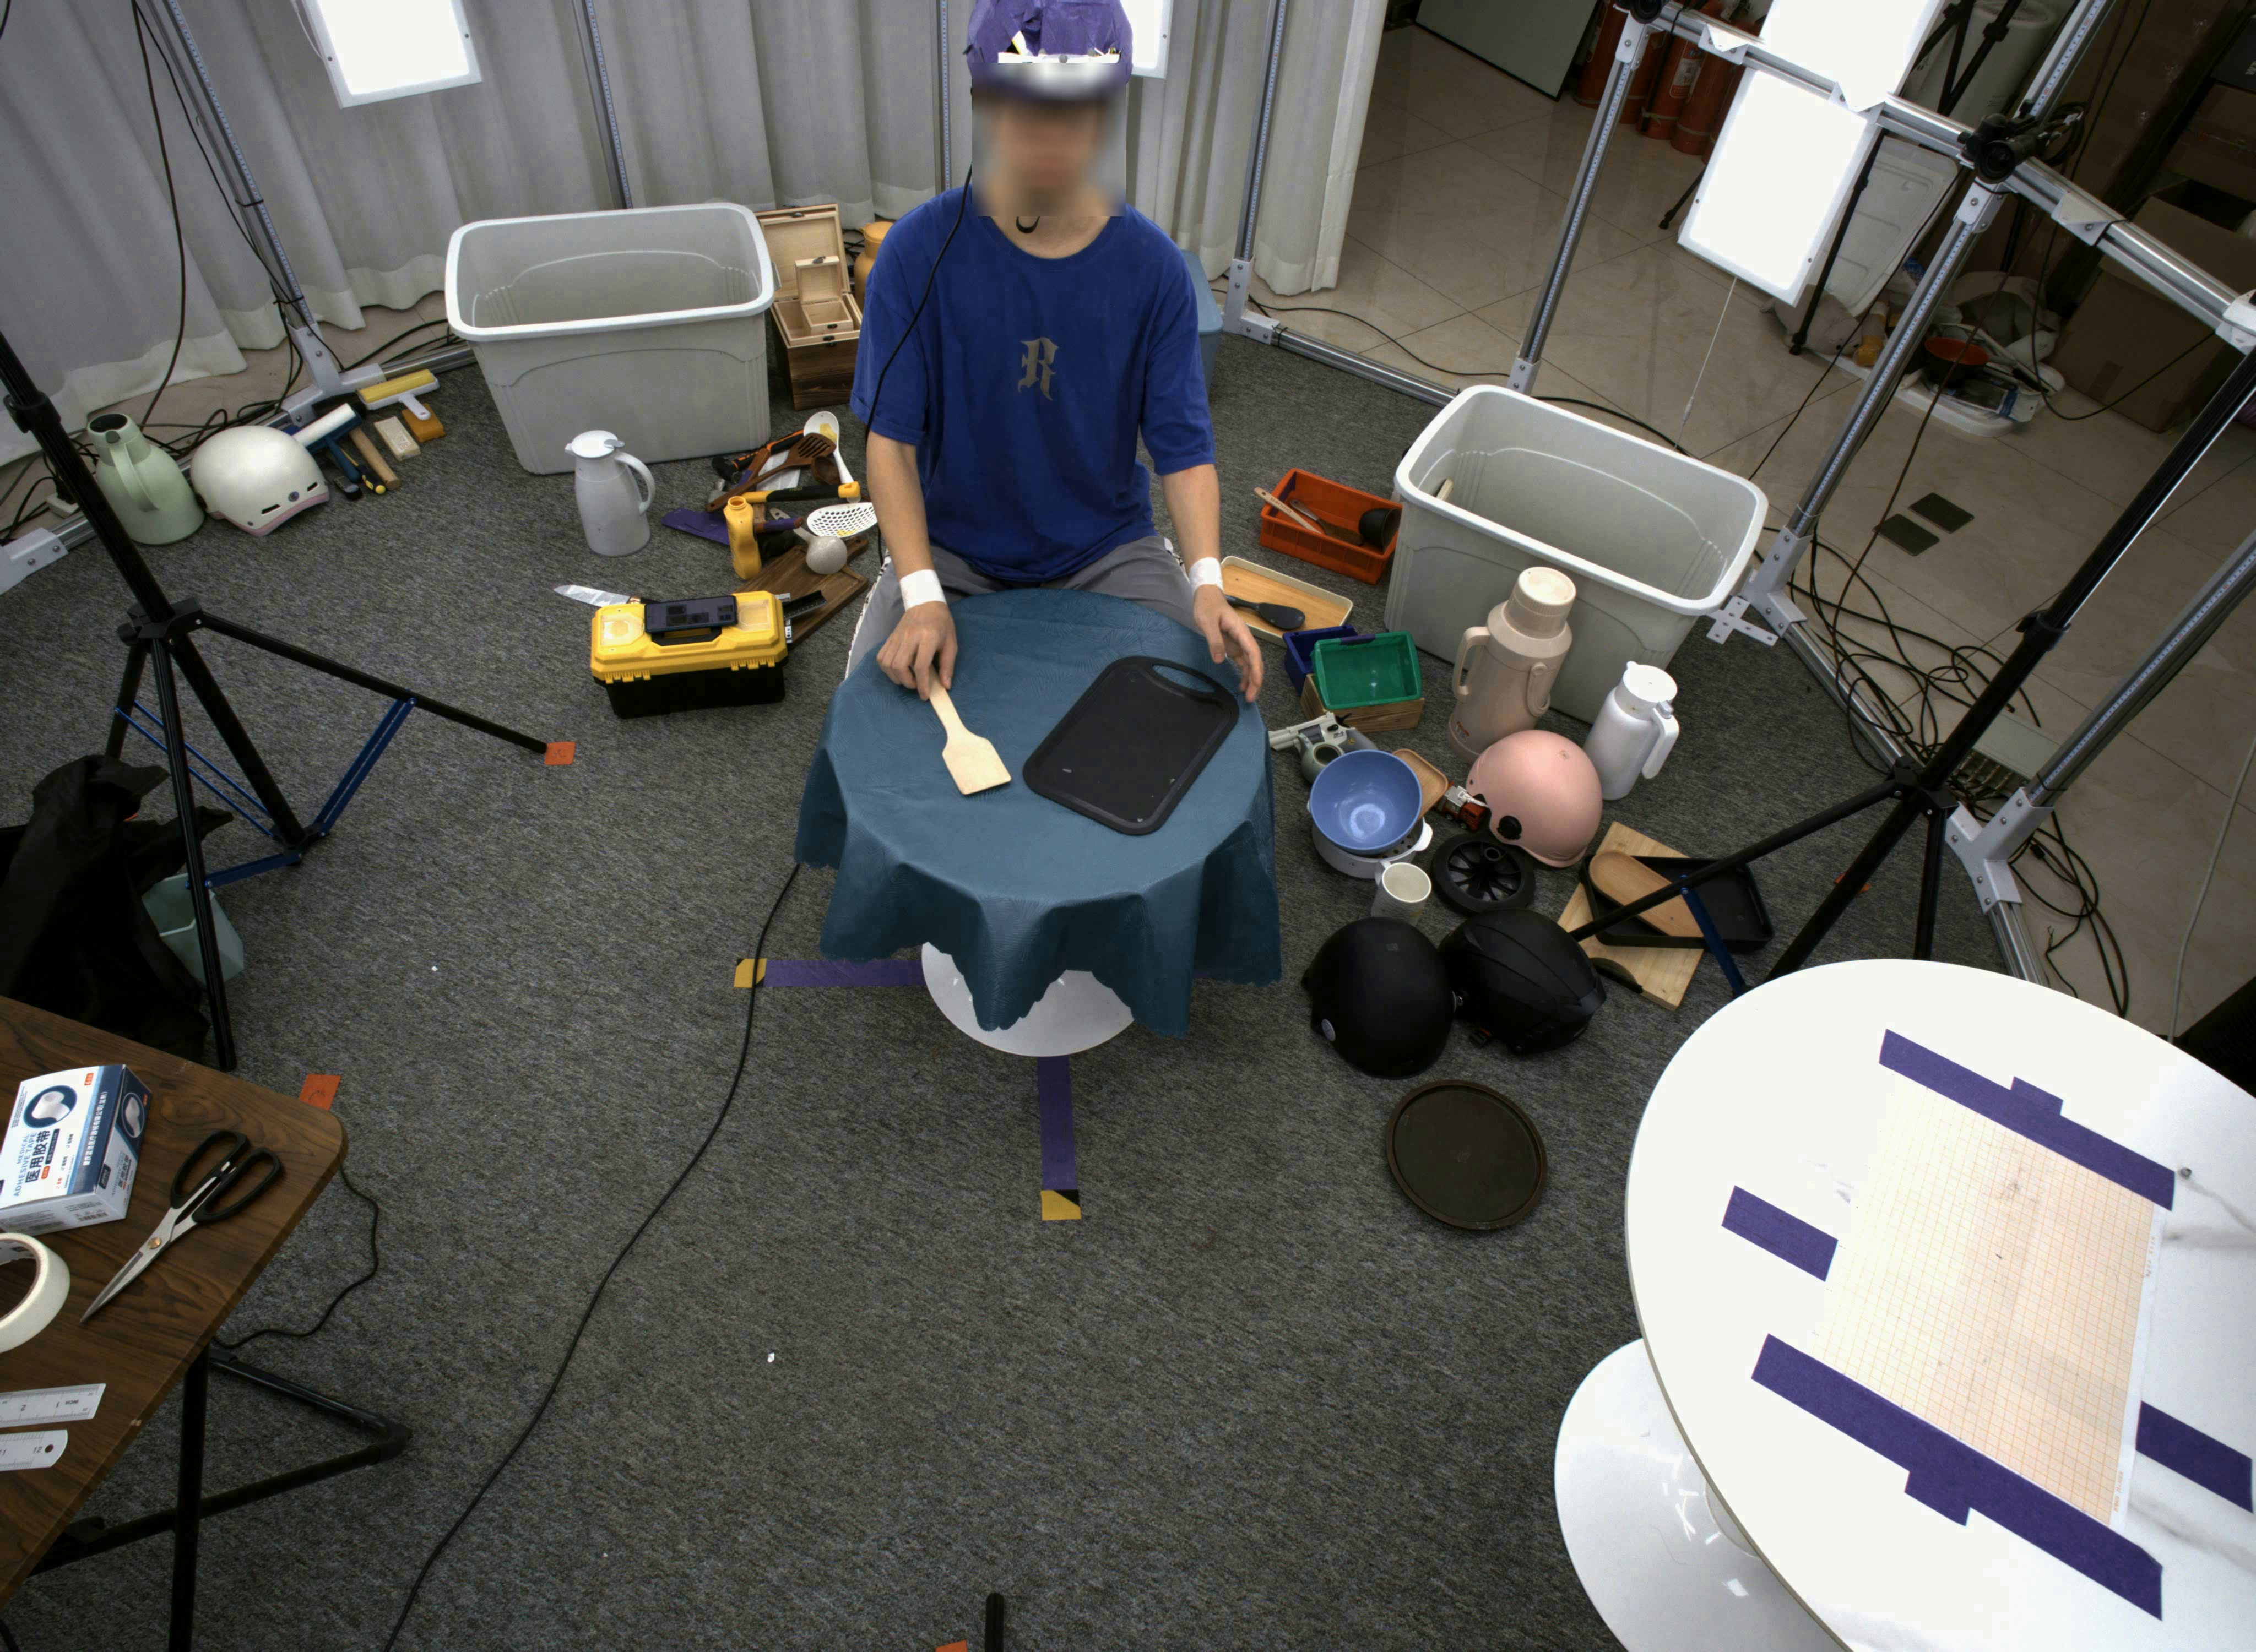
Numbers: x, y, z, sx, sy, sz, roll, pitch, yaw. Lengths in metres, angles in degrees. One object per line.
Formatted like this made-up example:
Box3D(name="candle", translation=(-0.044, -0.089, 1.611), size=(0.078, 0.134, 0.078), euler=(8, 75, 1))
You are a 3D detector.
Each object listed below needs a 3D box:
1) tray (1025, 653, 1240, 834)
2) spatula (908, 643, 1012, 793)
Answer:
Box3D(name="tray", translation=(0.014, -0.128, 1.779), size=(0.213, 0.009, 0.330), euler=(25, 53, 17))
Box3D(name="spatula", translation=(-0.248, -0.157, 1.786), size=(0.072, 0.010, 0.299), euler=(-19, 54, -17))
